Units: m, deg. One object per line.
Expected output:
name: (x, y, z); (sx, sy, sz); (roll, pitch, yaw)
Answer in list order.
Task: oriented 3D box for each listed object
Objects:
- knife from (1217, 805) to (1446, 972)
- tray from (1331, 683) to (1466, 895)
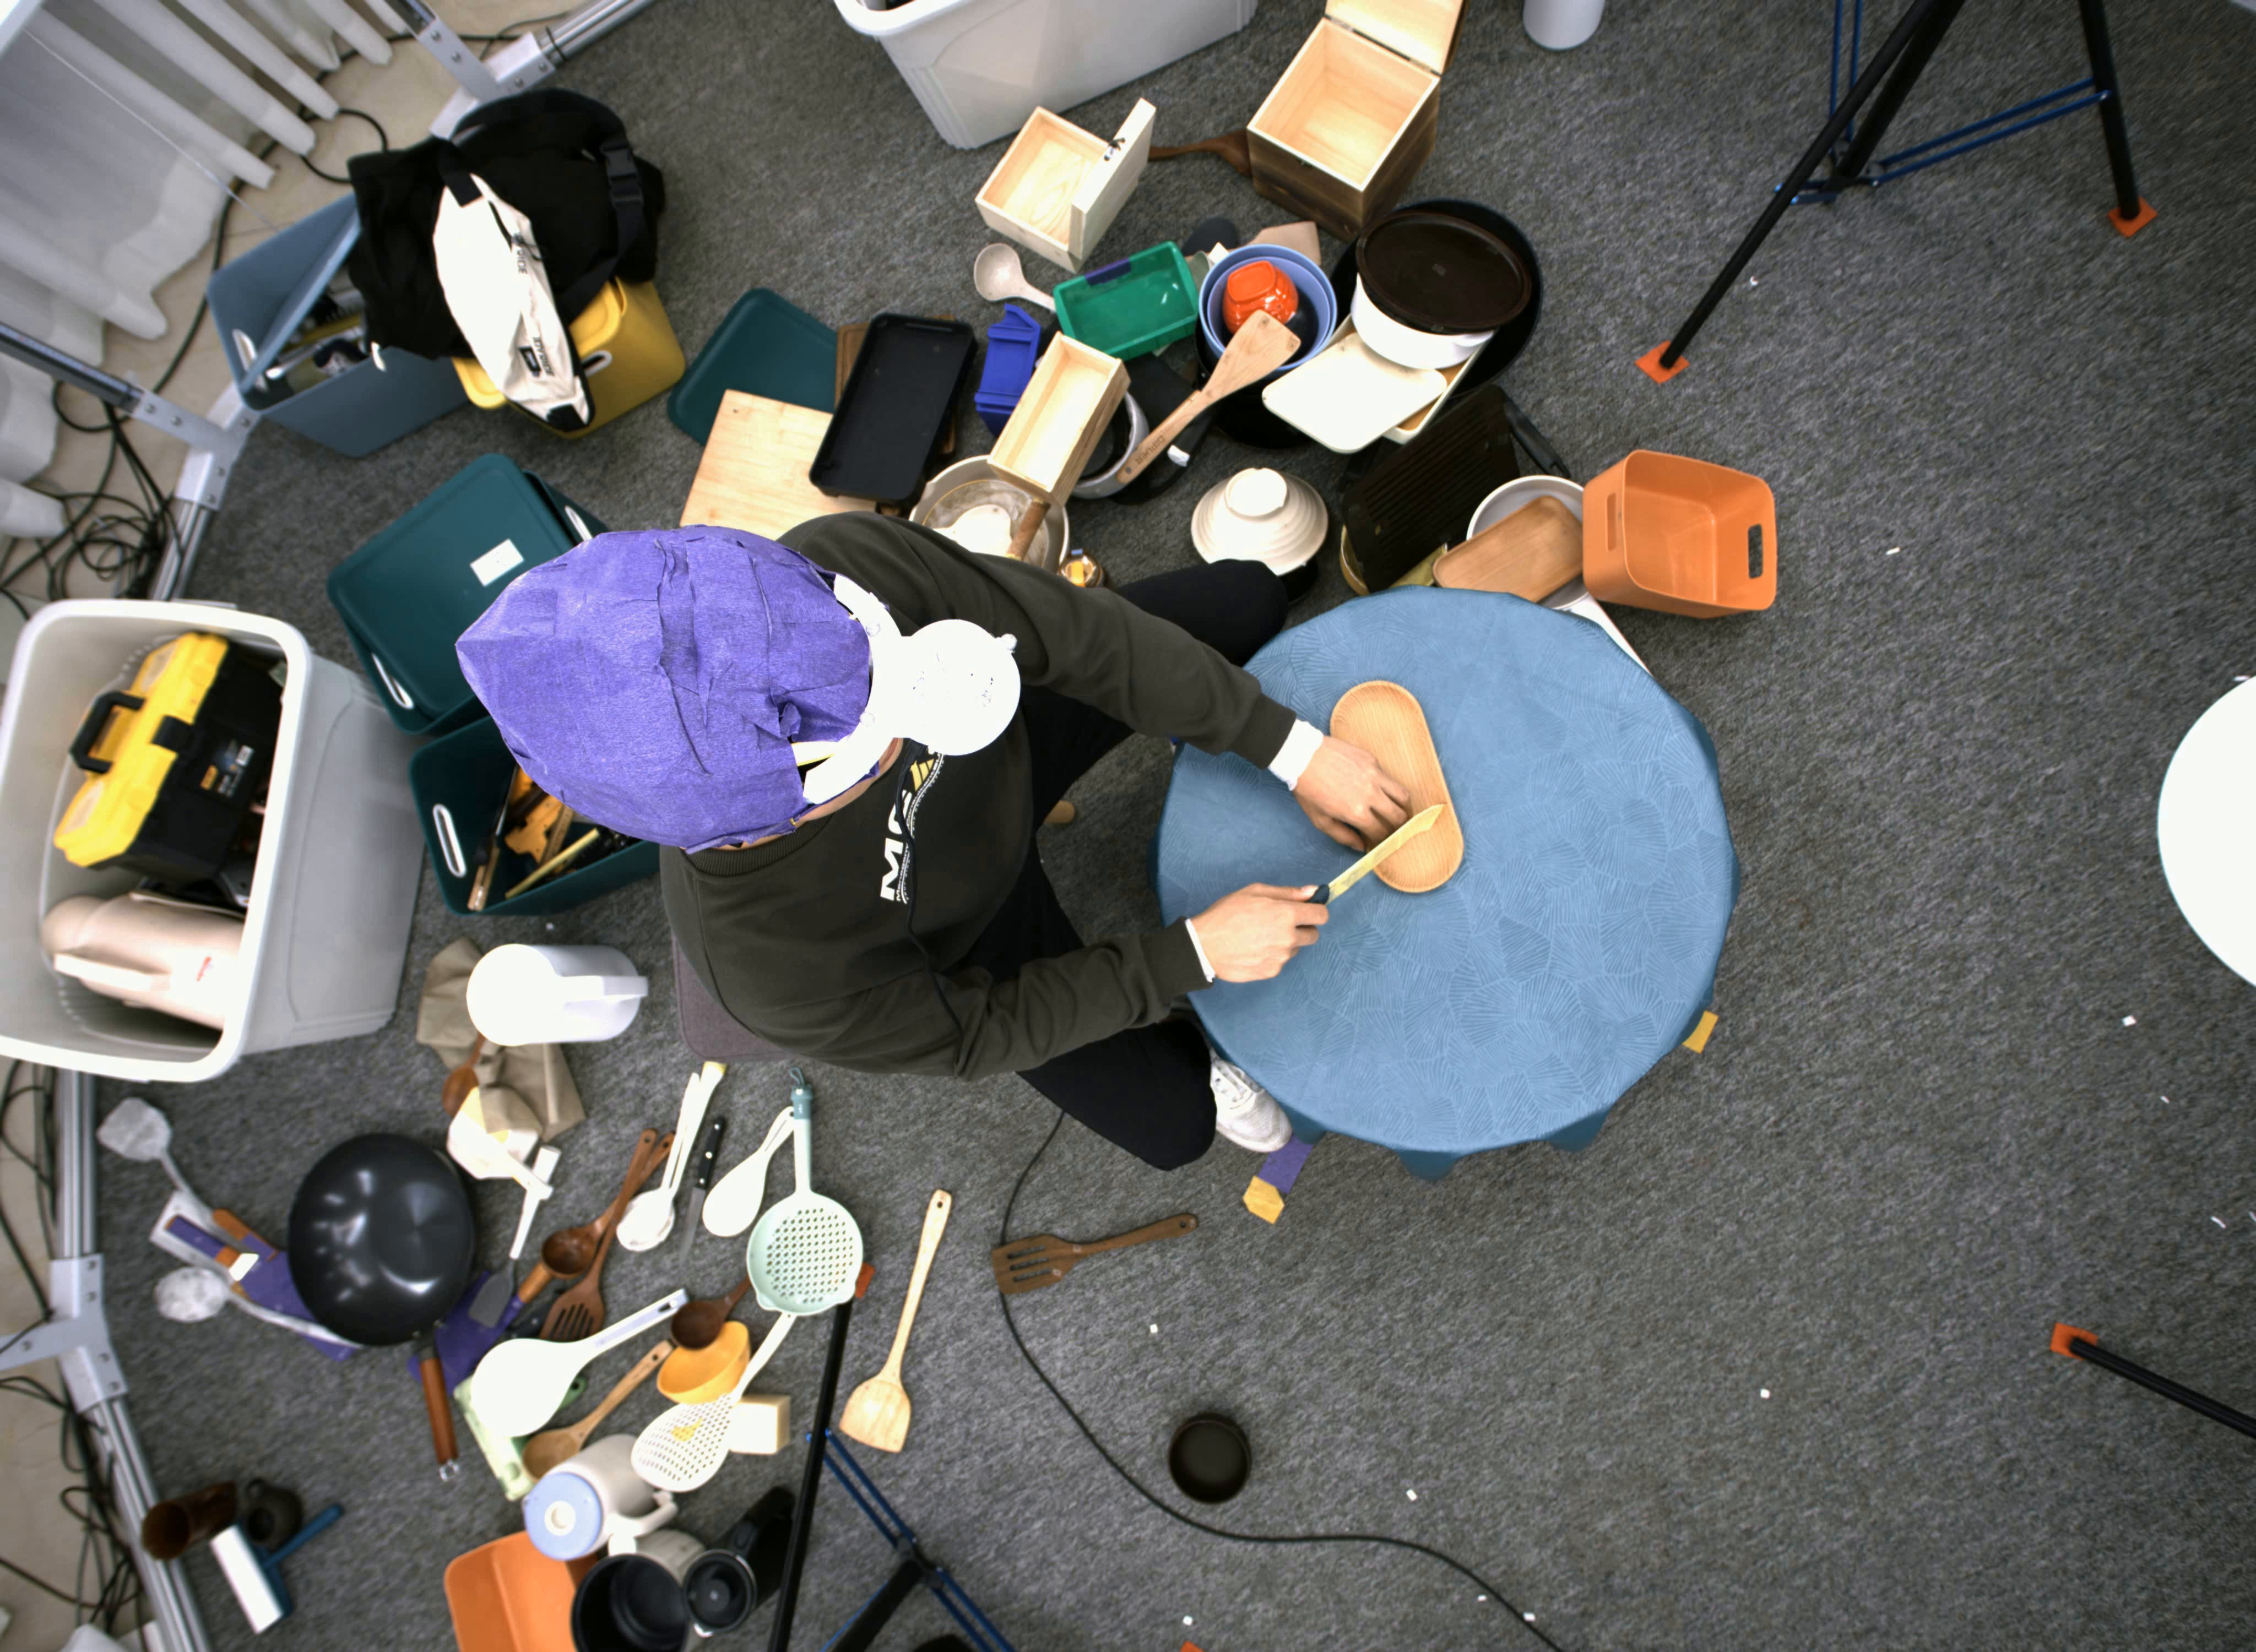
knife: (0.211, 0.060, 1.411); (0.289, 0.082, 0.027); (-35, 69, -4)
tray: (0.285, -0.041, 1.455); (0.102, 0.020, 0.230); (-17, 85, 10)
